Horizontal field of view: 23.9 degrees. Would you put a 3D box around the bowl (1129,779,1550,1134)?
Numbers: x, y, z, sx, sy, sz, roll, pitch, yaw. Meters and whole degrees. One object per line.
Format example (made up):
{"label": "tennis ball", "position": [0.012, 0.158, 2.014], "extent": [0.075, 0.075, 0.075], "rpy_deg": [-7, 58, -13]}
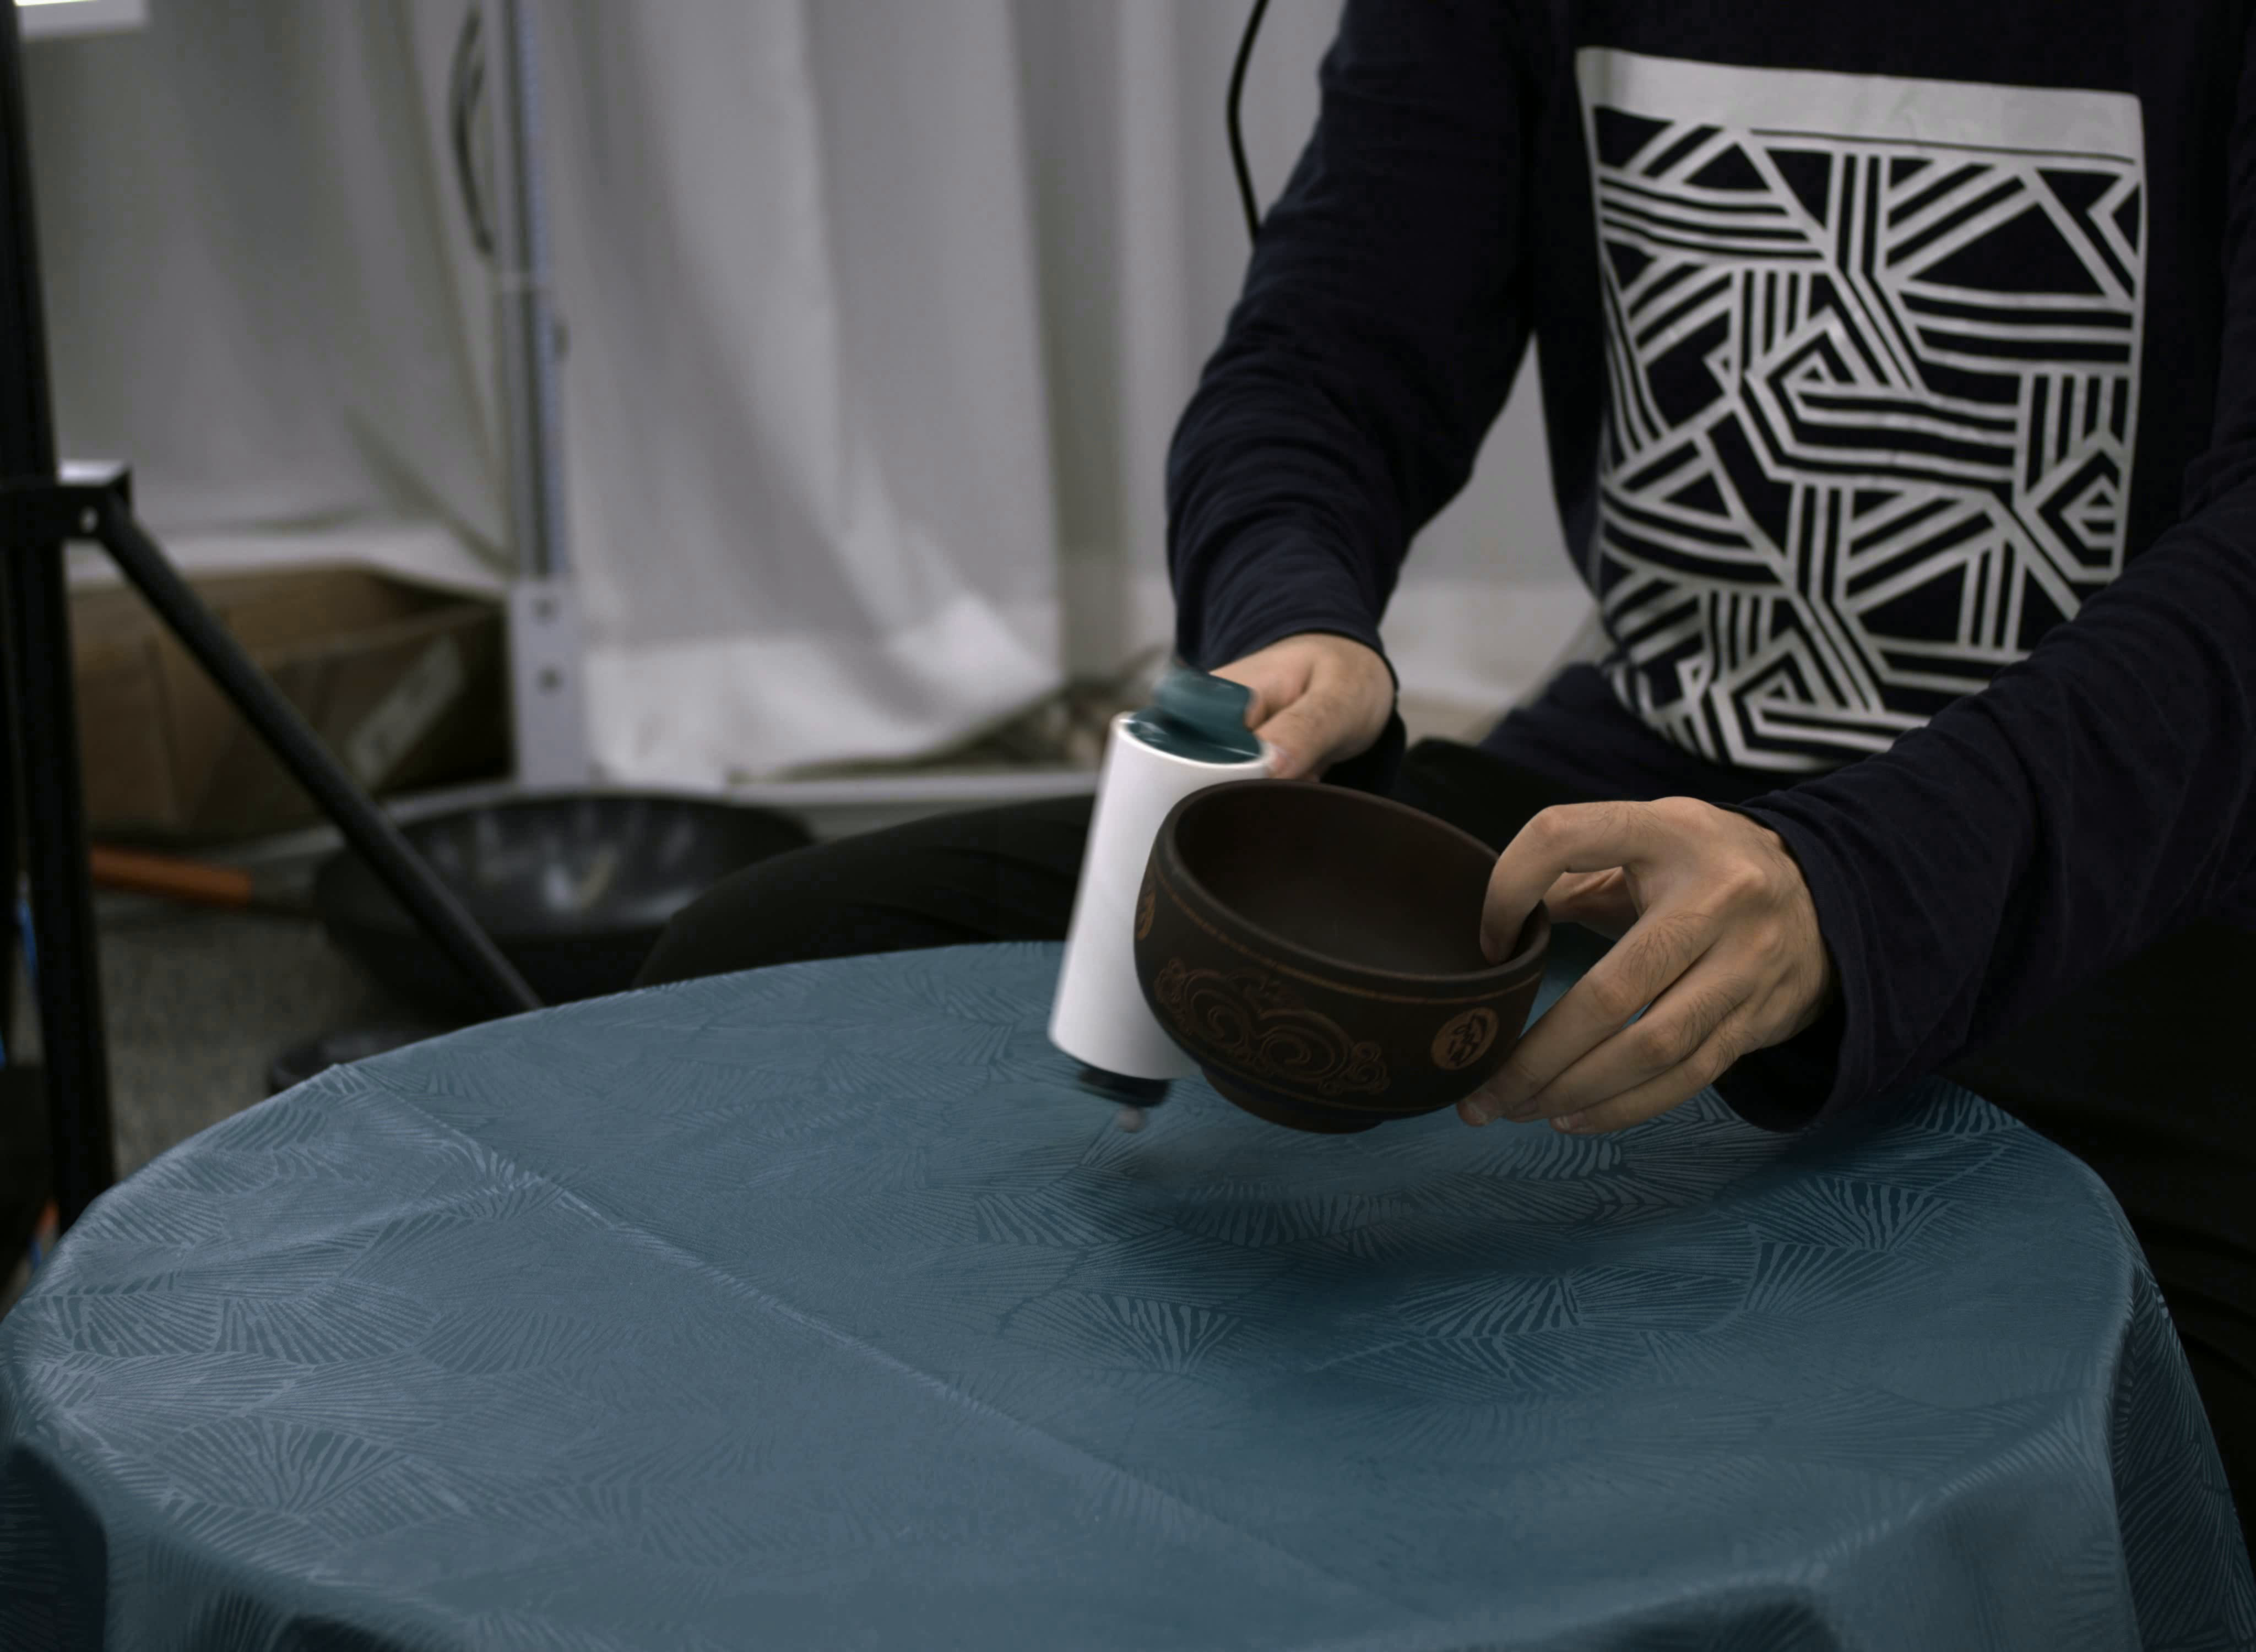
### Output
{"label": "bowl", "position": [0.056, 0.043, 1.499], "extent": [0.117, 0.070, 0.119], "rpy_deg": [11, 24, -6]}

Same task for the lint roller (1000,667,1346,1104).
{"label": "lint roller", "position": [0.020, 0.004, 1.621], "extent": [0.049, 0.135, 0.178], "rpy_deg": [21, 18, 14]}
